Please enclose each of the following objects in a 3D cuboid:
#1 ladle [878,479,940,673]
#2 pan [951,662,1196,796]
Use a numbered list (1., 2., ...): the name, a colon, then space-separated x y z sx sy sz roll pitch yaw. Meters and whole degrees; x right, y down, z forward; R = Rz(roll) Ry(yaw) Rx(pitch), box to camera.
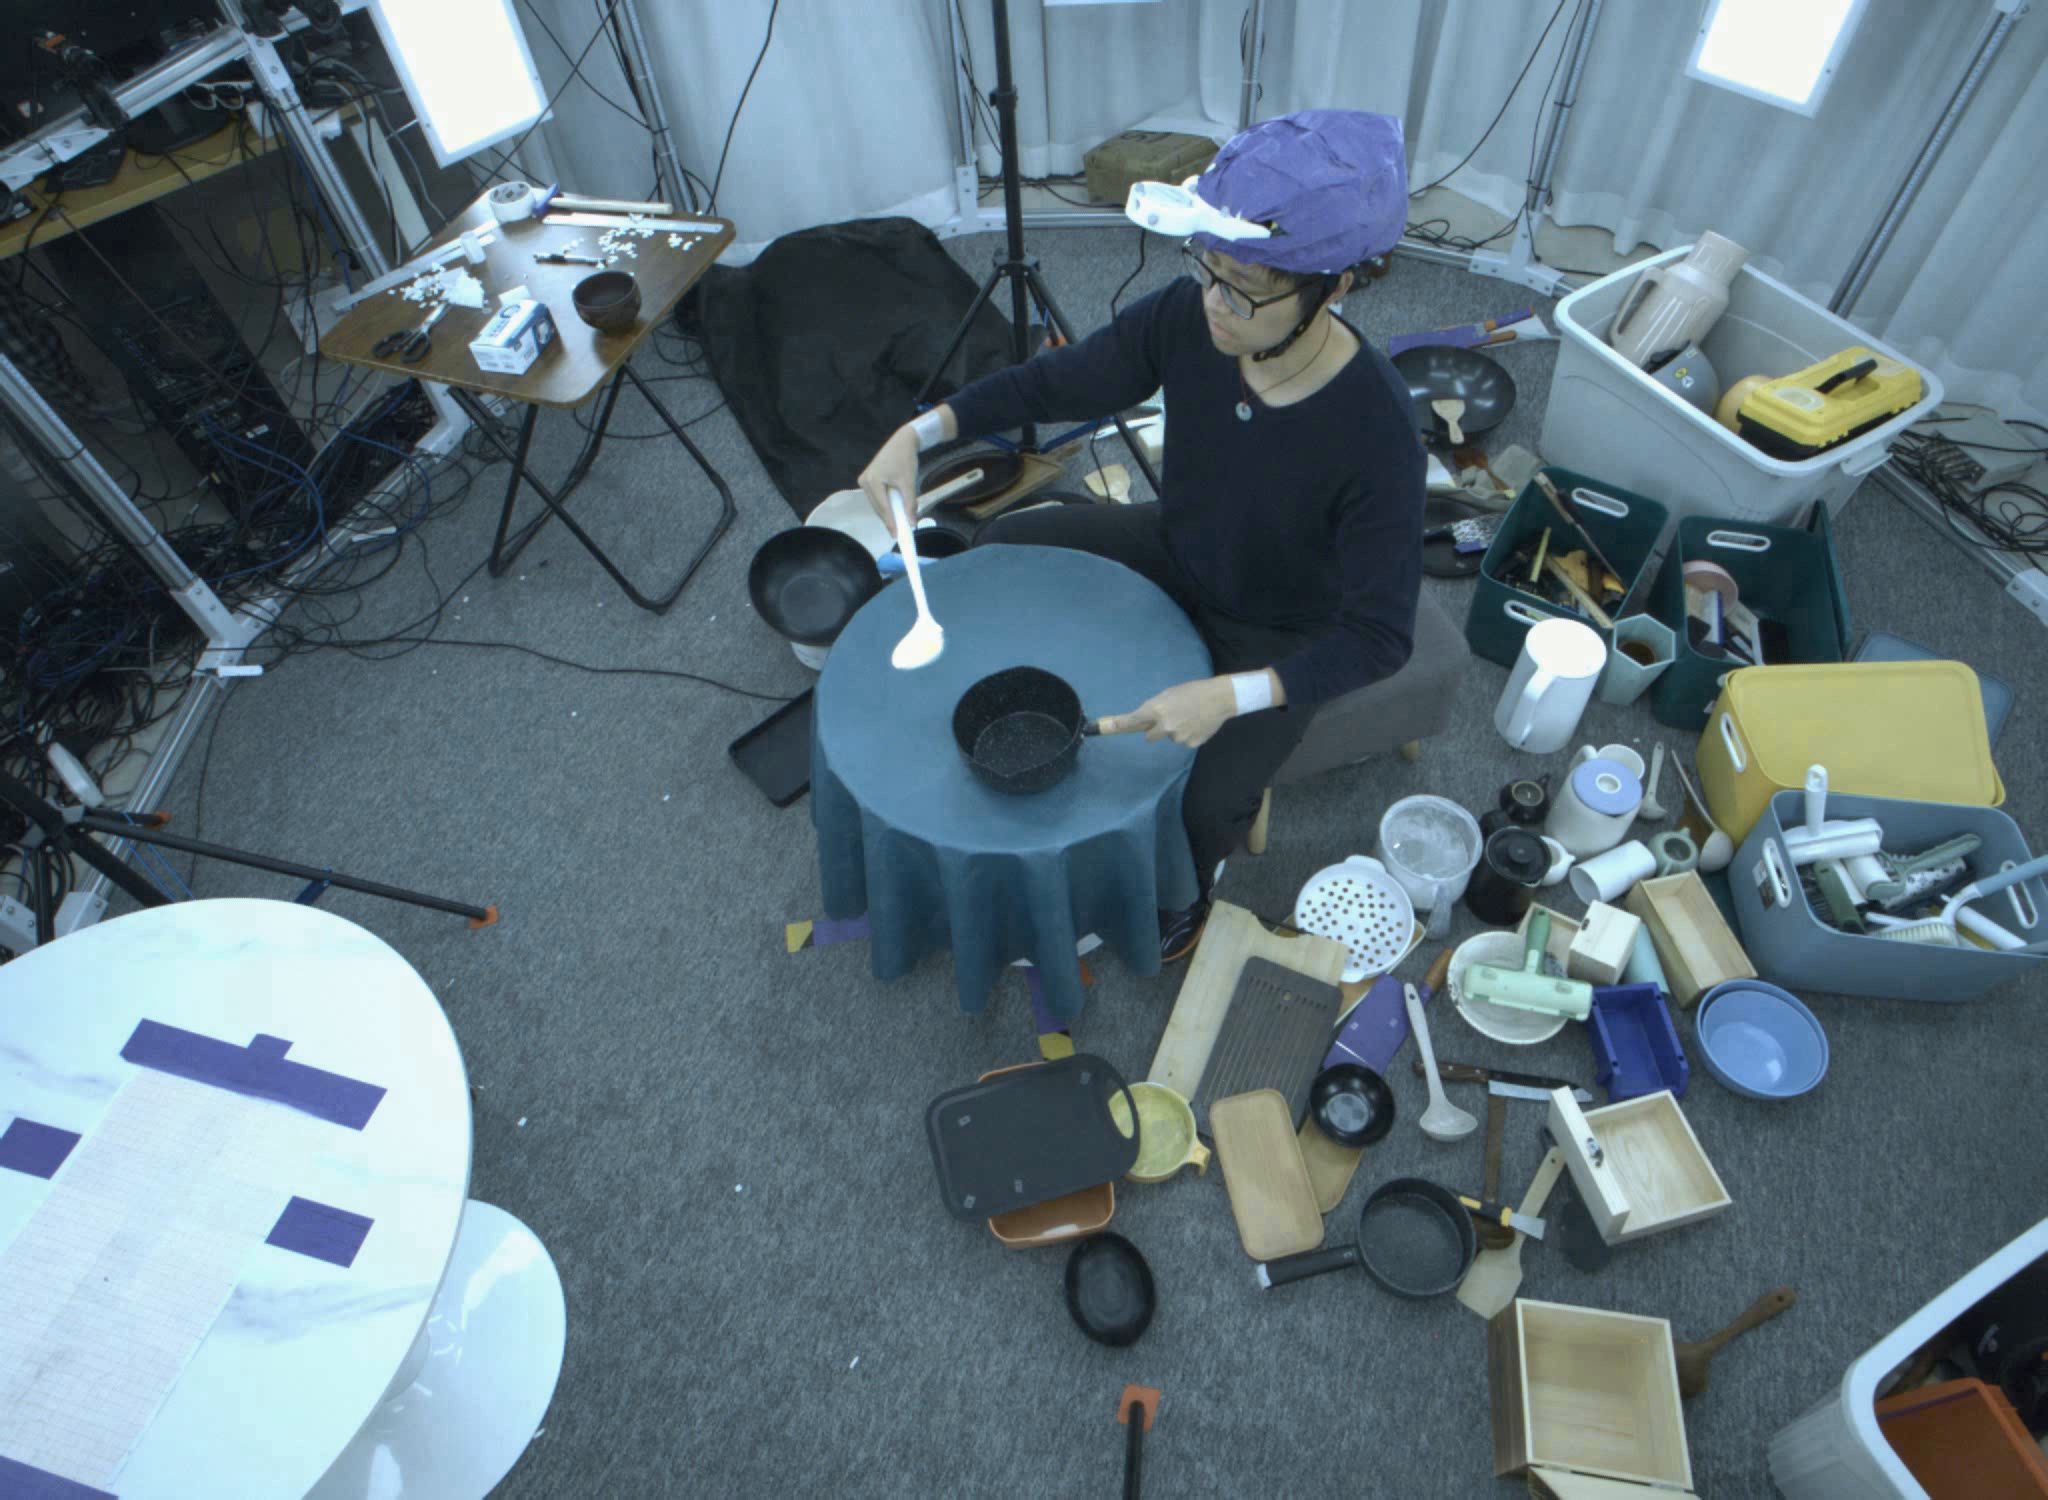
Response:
1. ladle: -0.179 -0.252 1.750 0.088 0.071 0.292 -16 85 34
2. pan: 0.071 -0.026 1.725 0.341 0.110 0.206 0 53 9
